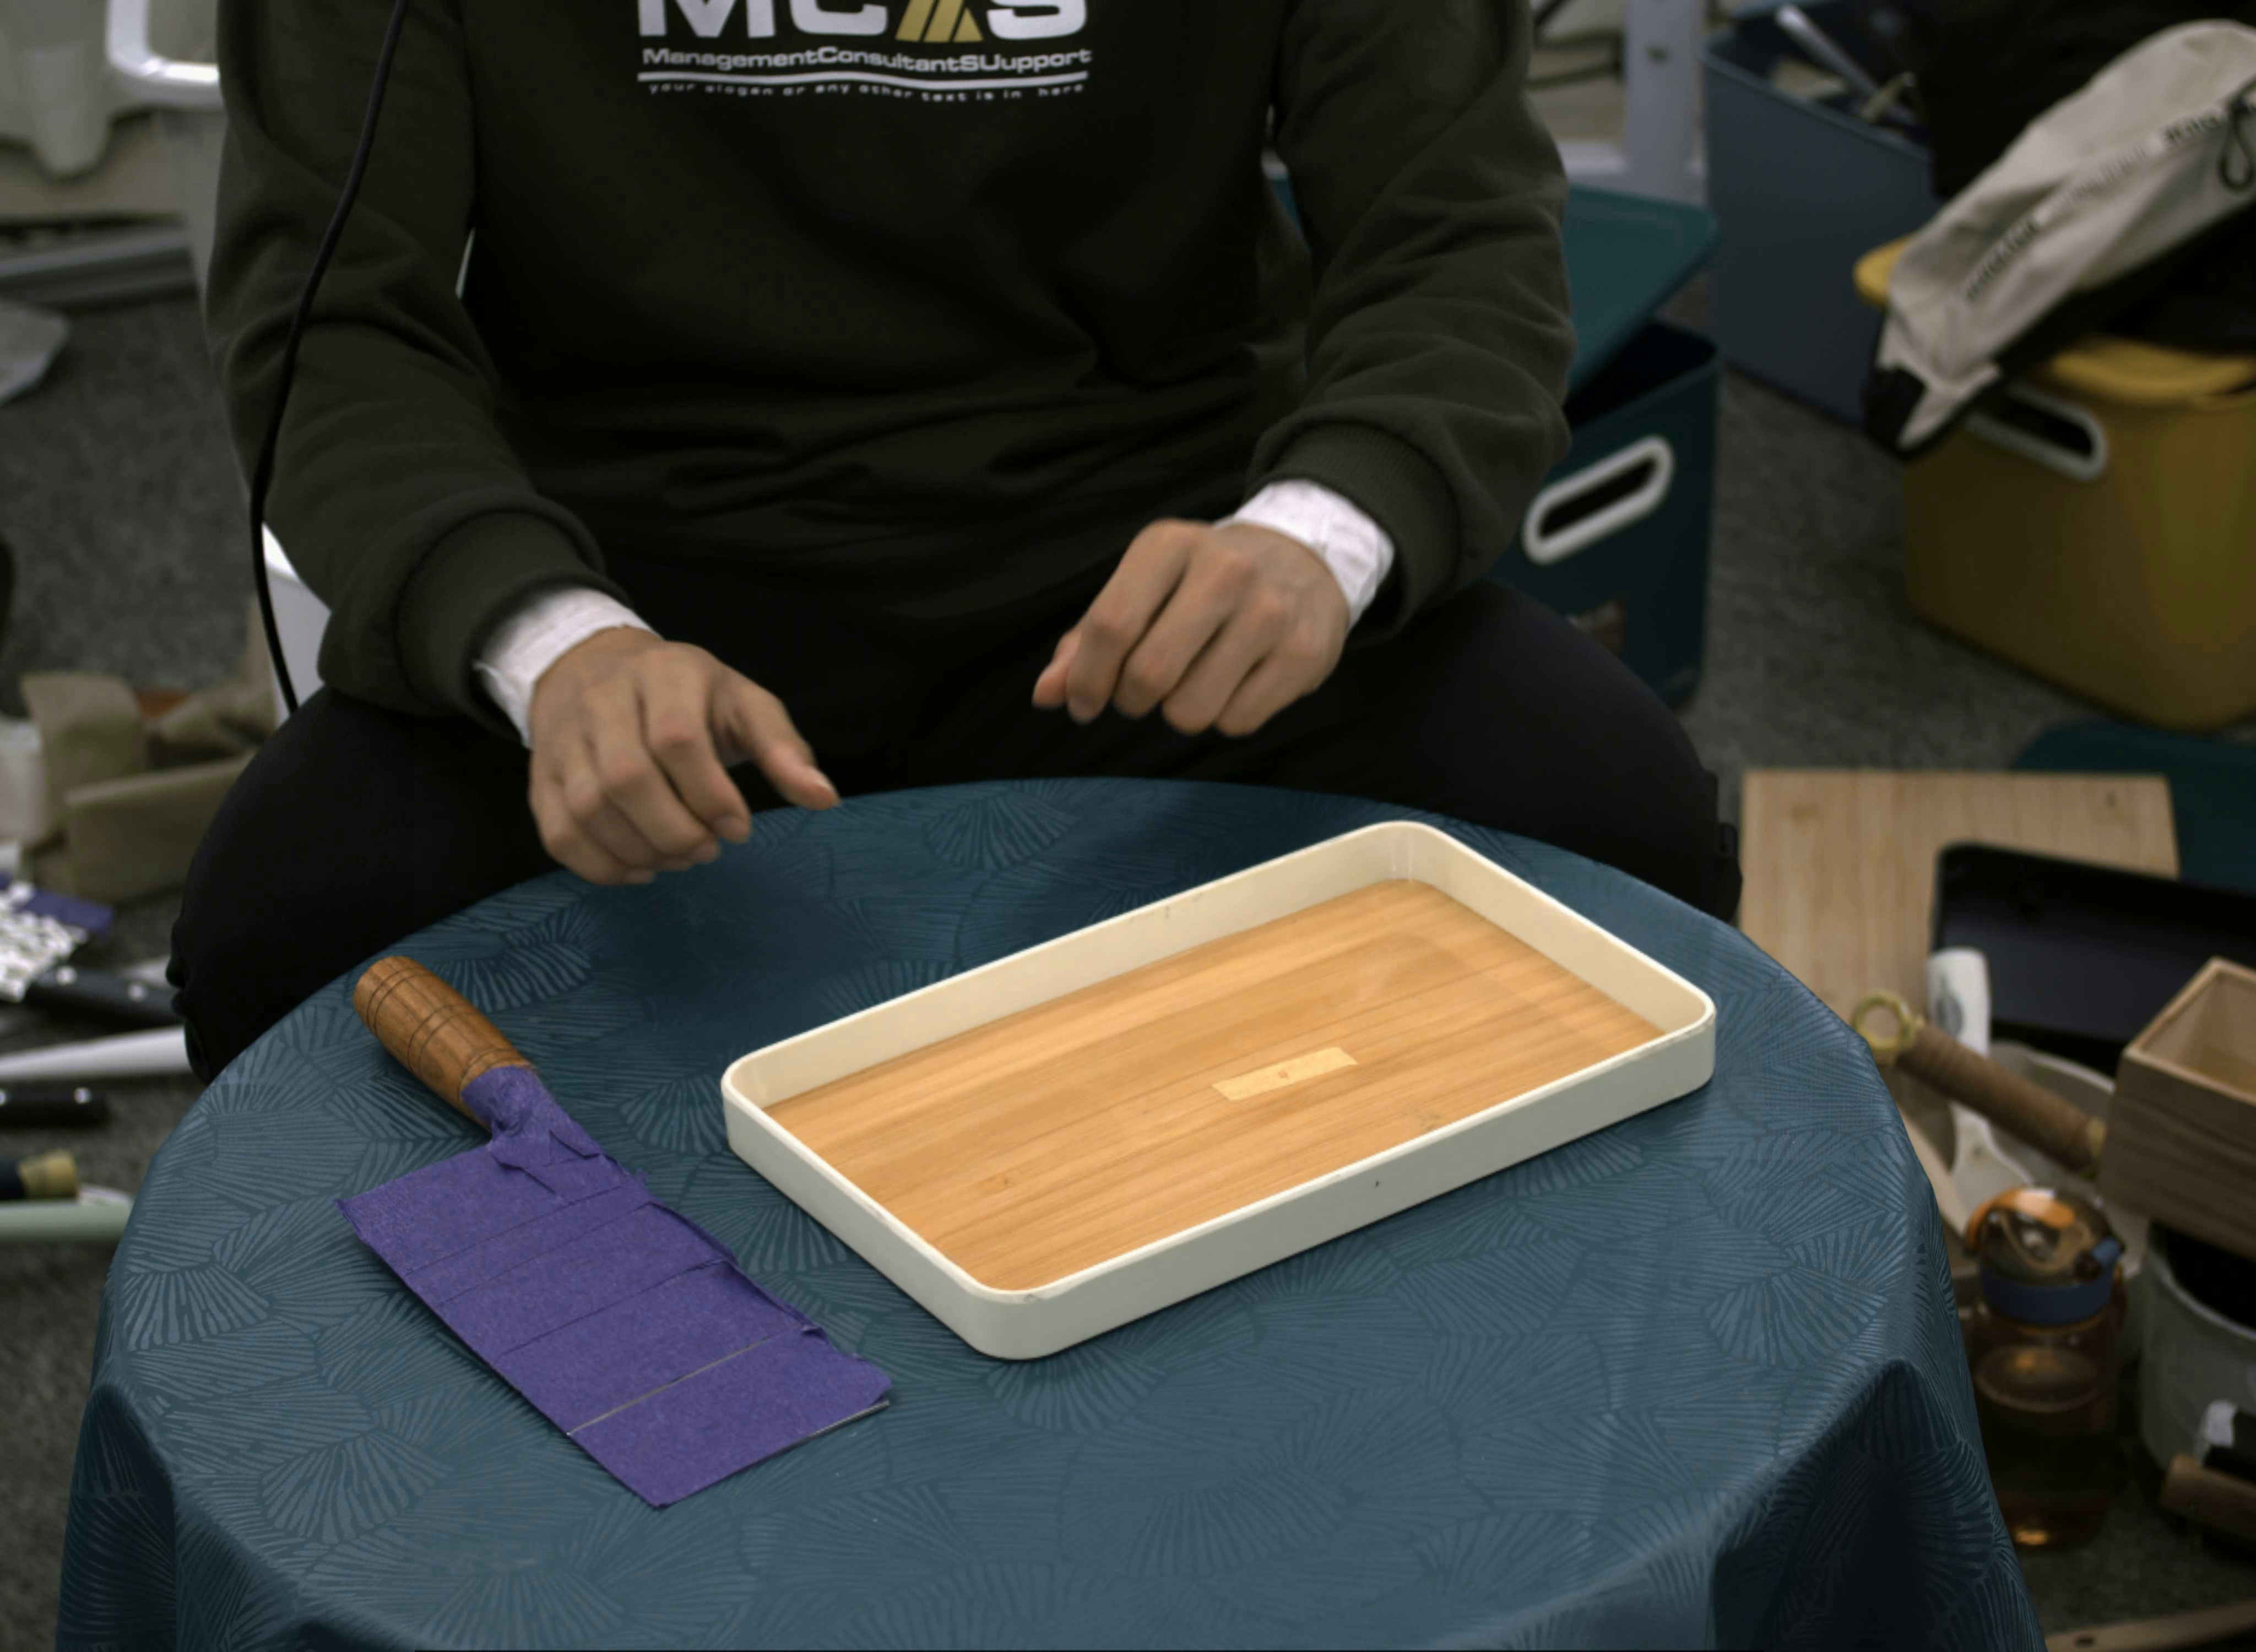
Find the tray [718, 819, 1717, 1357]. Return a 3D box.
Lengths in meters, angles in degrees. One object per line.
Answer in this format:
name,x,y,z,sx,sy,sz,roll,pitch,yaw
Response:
tray,0.031,0.084,1.903,0.302,0.027,0.192,-20,31,-29

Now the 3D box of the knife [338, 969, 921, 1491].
knife,-0.196,0.128,1.837,0.105,0.032,0.316,-20,33,-31
